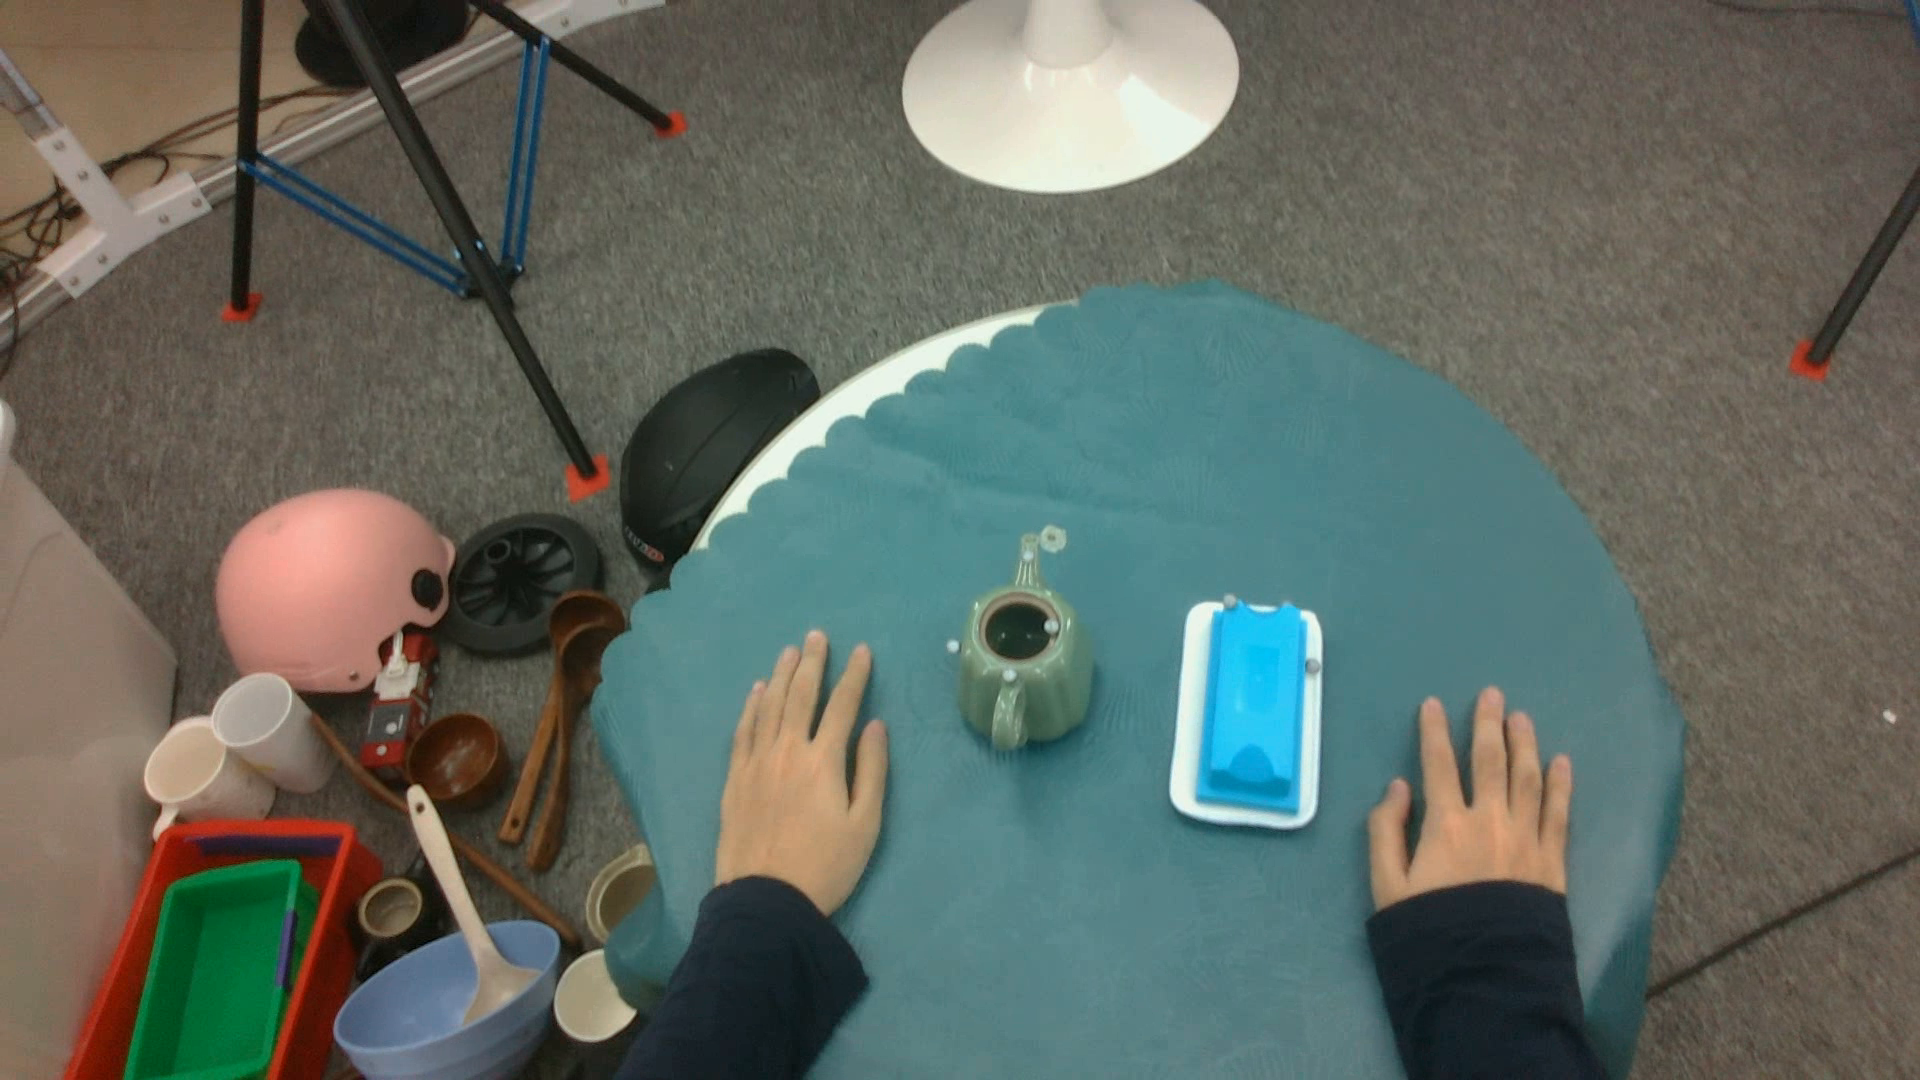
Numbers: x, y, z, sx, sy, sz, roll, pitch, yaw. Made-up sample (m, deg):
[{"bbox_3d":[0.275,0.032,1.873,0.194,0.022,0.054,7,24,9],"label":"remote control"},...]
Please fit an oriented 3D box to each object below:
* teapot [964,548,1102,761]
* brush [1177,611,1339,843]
[{"bbox_3d":[0.041,0.076,0.806,0.079,0.075,0.133,4,56,11],"label":"teapot"},{"bbox_3d":[0.170,0.098,0.779,0.084,0.055,0.144,4,52,15],"label":"brush"}]
